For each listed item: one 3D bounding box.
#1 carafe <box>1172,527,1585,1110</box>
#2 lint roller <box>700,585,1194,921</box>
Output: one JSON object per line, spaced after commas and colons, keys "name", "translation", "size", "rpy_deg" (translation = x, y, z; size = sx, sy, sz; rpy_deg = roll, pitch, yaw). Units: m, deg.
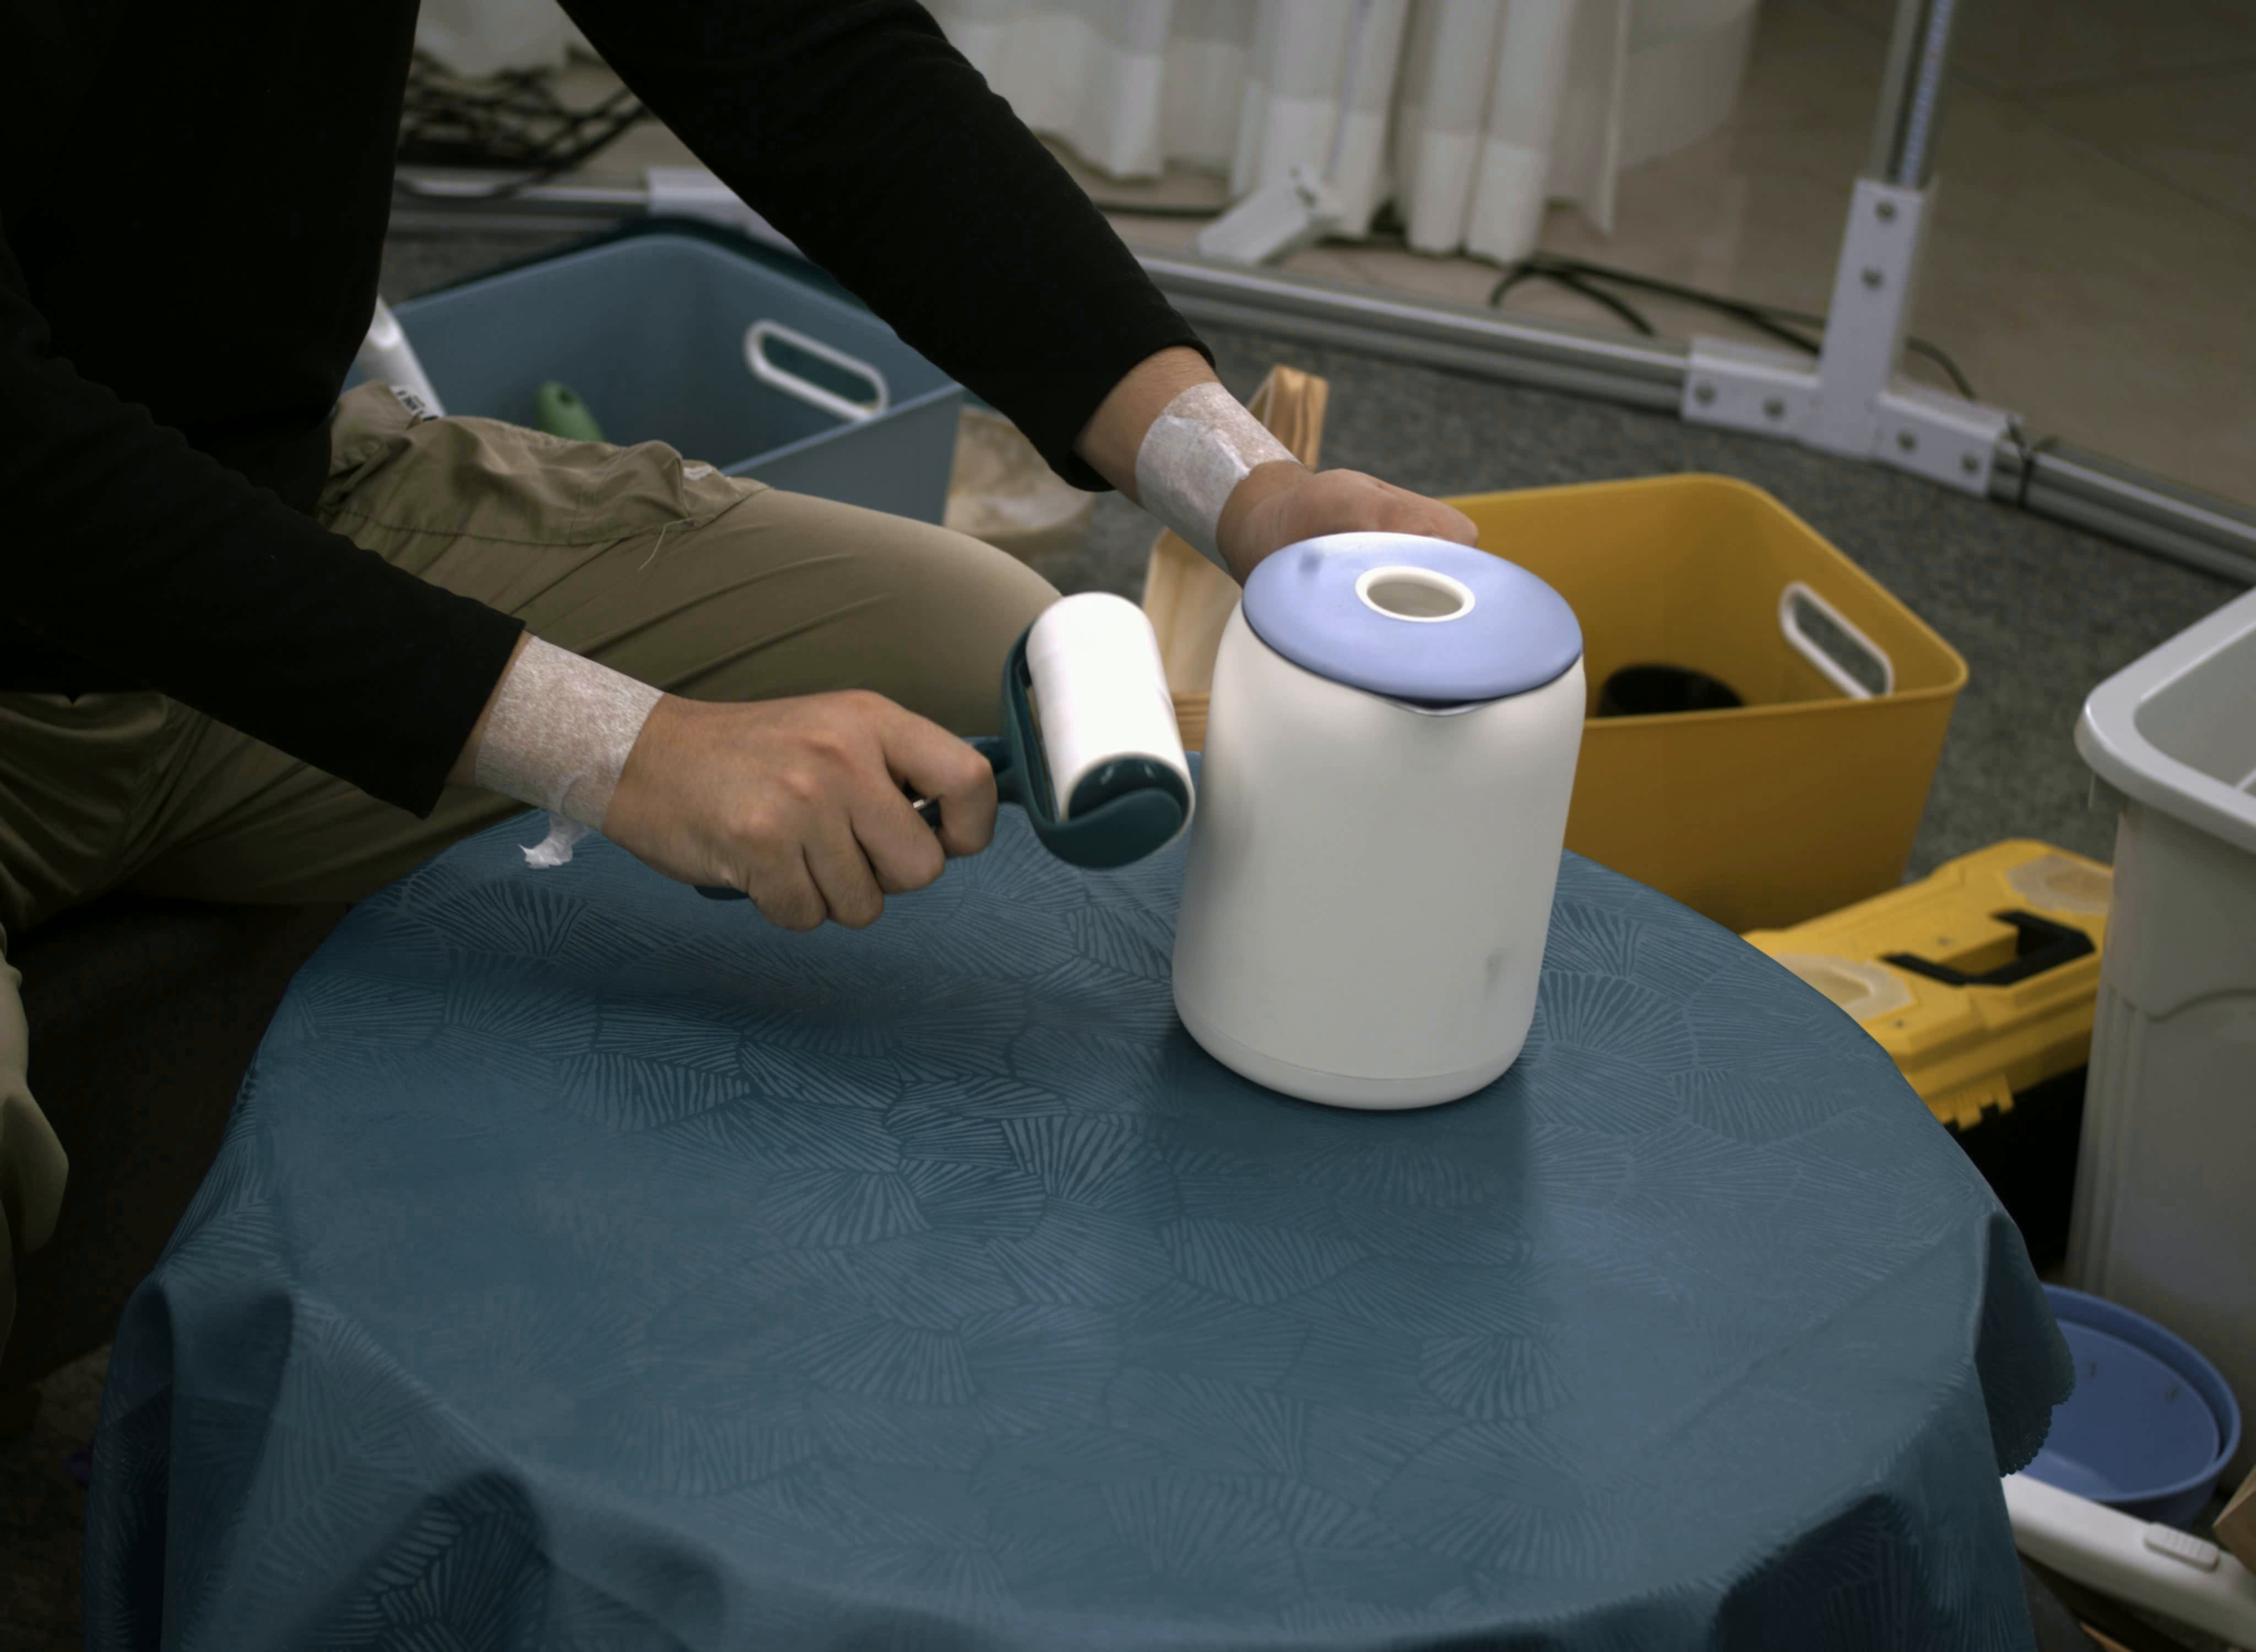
{"name": "carafe", "translation": [0.086, -0.015, 1.899], "size": [0.131, 0.182, 0.192], "rpy_deg": [3, 27, -9]}
{"name": "lint roller", "translation": [-0.070, -0.013, 1.867], "size": [0.180, 0.048, 0.135], "rpy_deg": [-16, 35, 3]}
